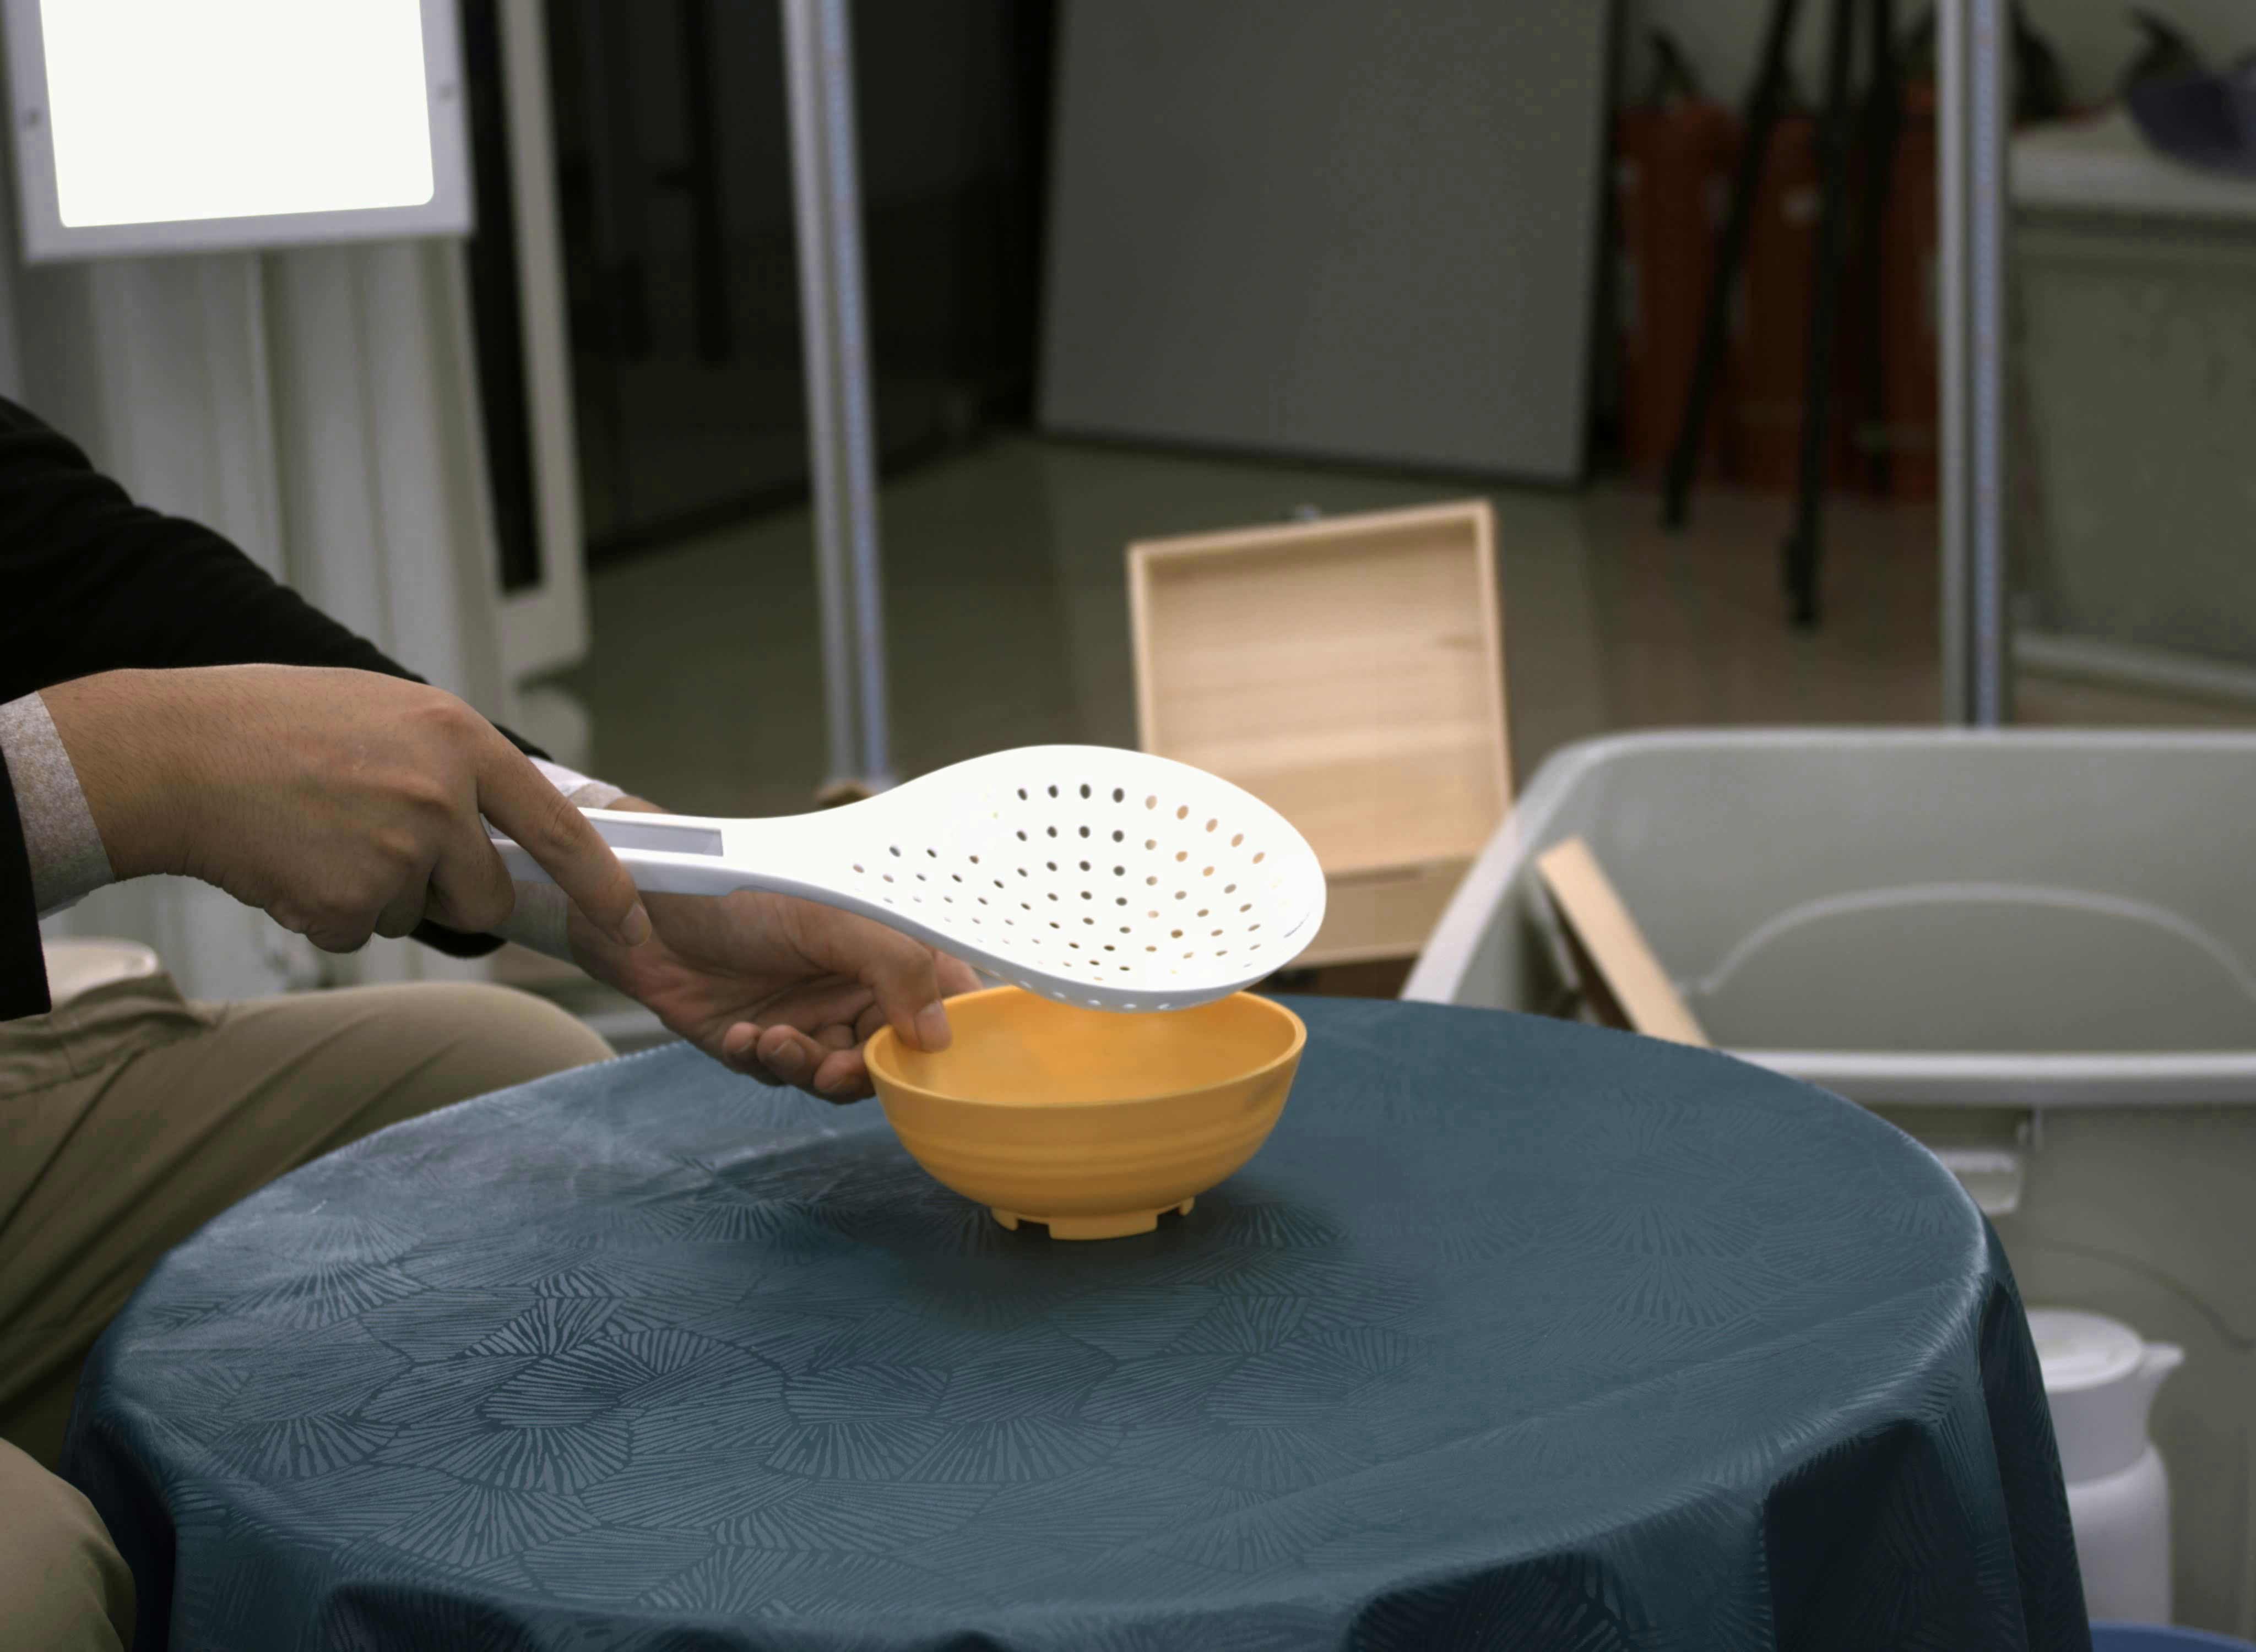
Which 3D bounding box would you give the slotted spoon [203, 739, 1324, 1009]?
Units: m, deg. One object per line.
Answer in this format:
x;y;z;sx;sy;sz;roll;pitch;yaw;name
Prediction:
-0.110;0.009;1.672;0.343;0.046;0.137;8;32;-12;slotted spoon

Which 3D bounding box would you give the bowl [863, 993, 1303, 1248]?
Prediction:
-0.013;0.099;1.746;0.143;0.061;0.145;-3;12;0;bowl
